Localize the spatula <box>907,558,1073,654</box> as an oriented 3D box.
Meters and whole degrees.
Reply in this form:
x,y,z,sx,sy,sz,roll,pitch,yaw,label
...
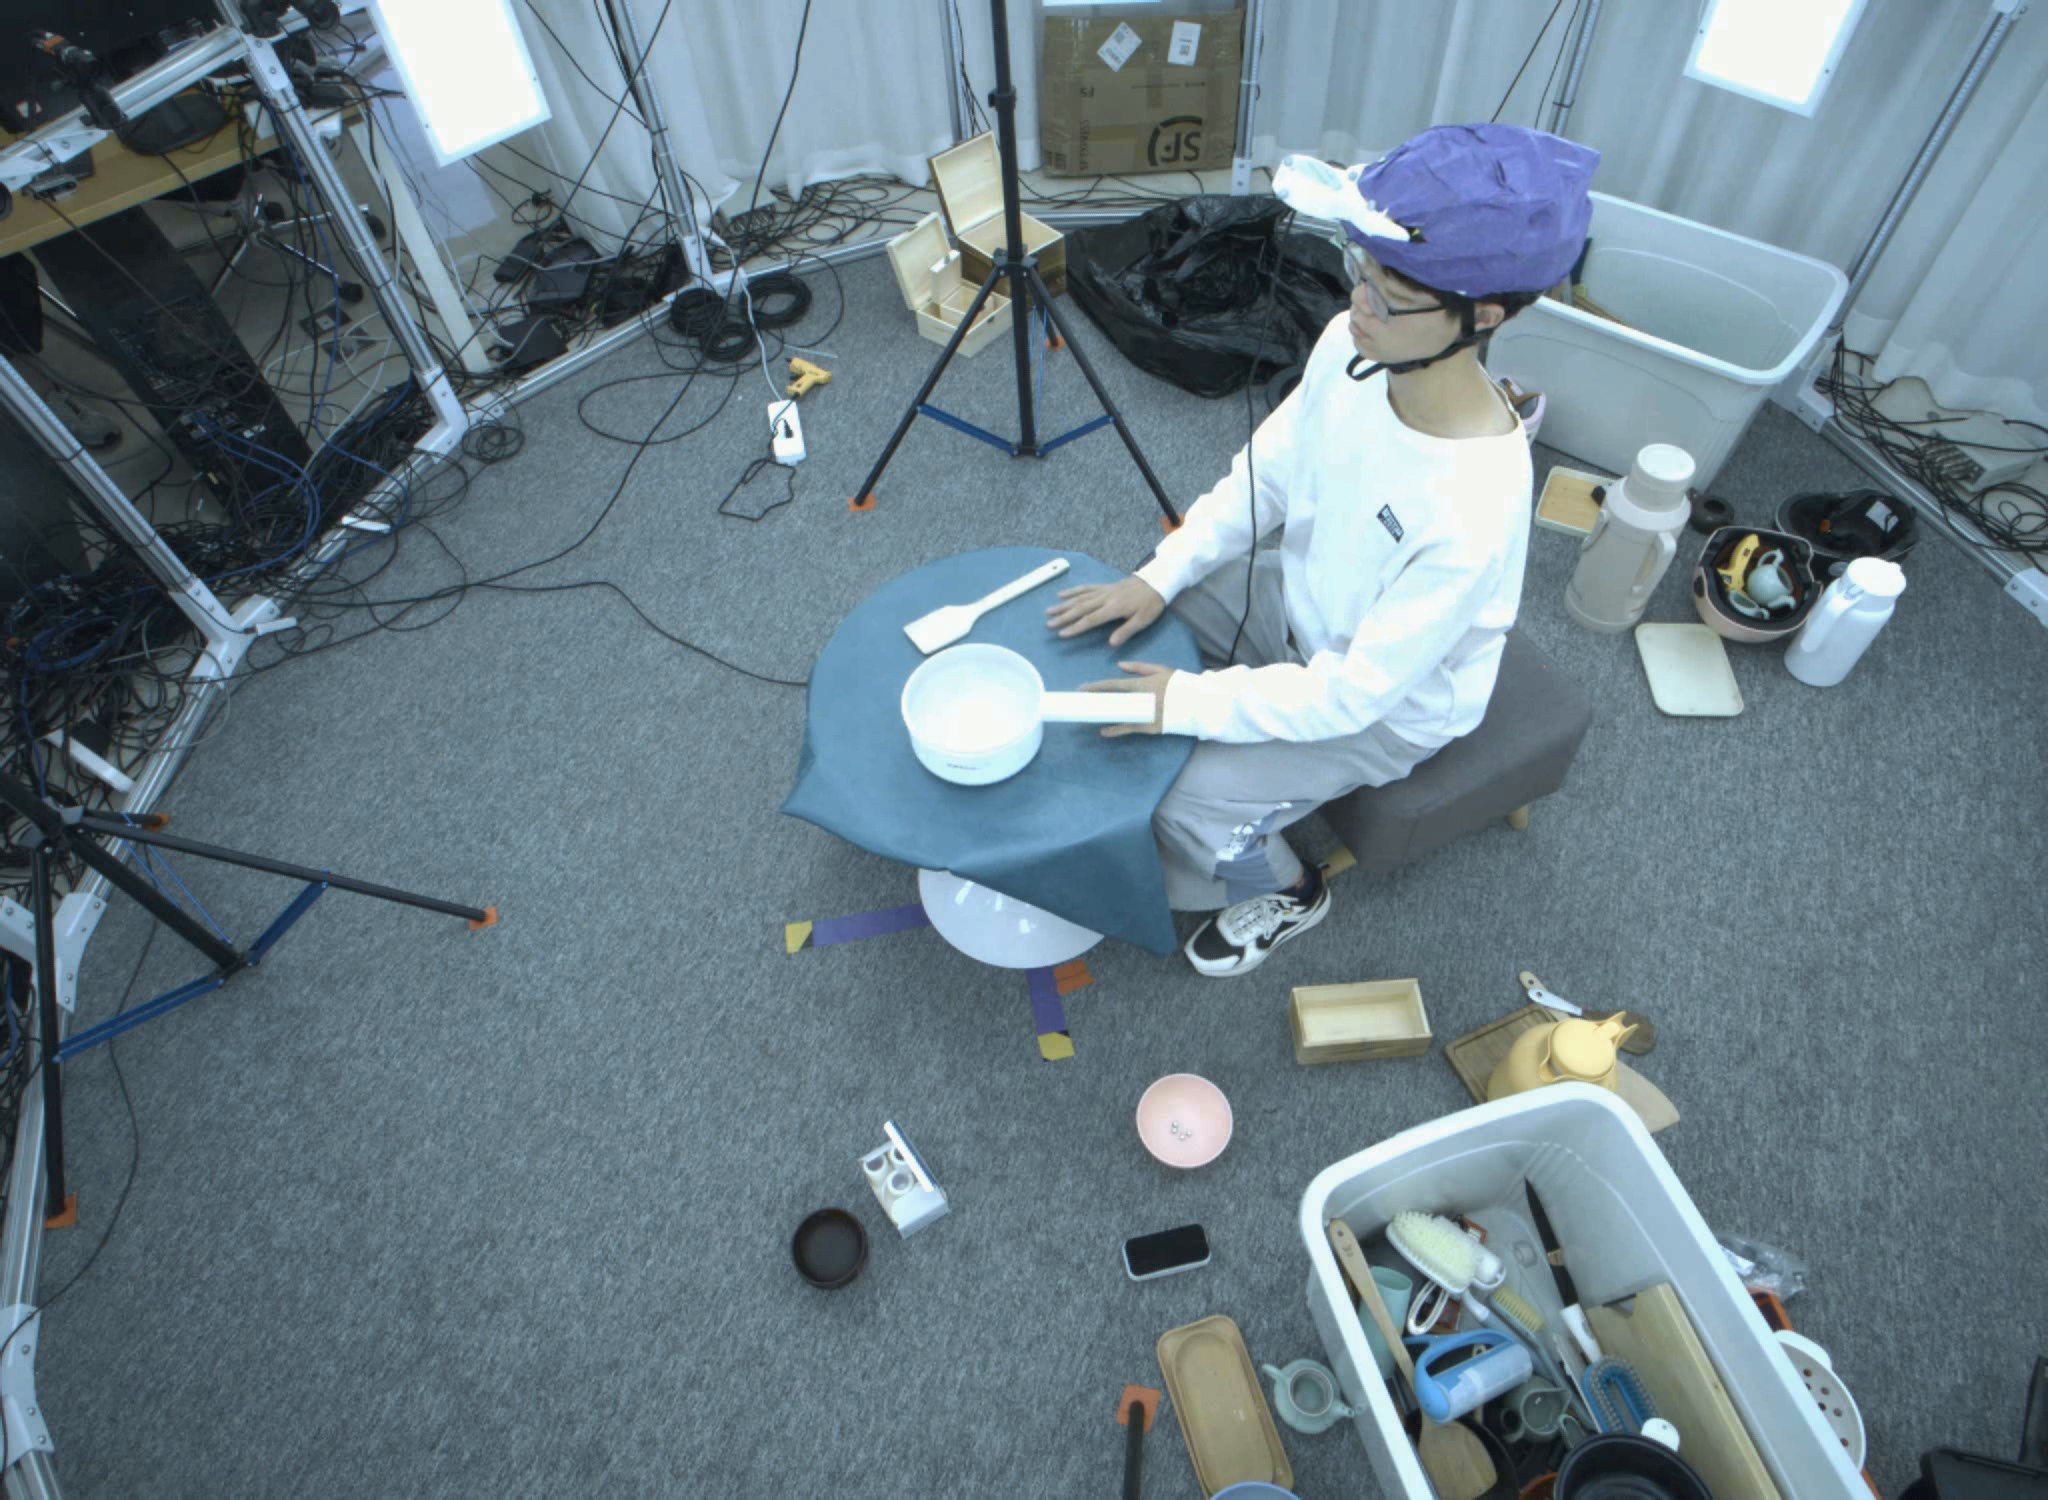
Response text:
x,y,z,sx,sy,sz,roll,pitch,yaw,label
-0.047,-0.238,1.951,0.295,0.011,0.071,-30,57,-18,spatula

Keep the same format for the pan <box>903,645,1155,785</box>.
x,y,z,sx,sy,sz,roll,pitch,yaw,label
0.008,-0.043,1.757,0.354,0.103,0.199,2,53,1,pan
